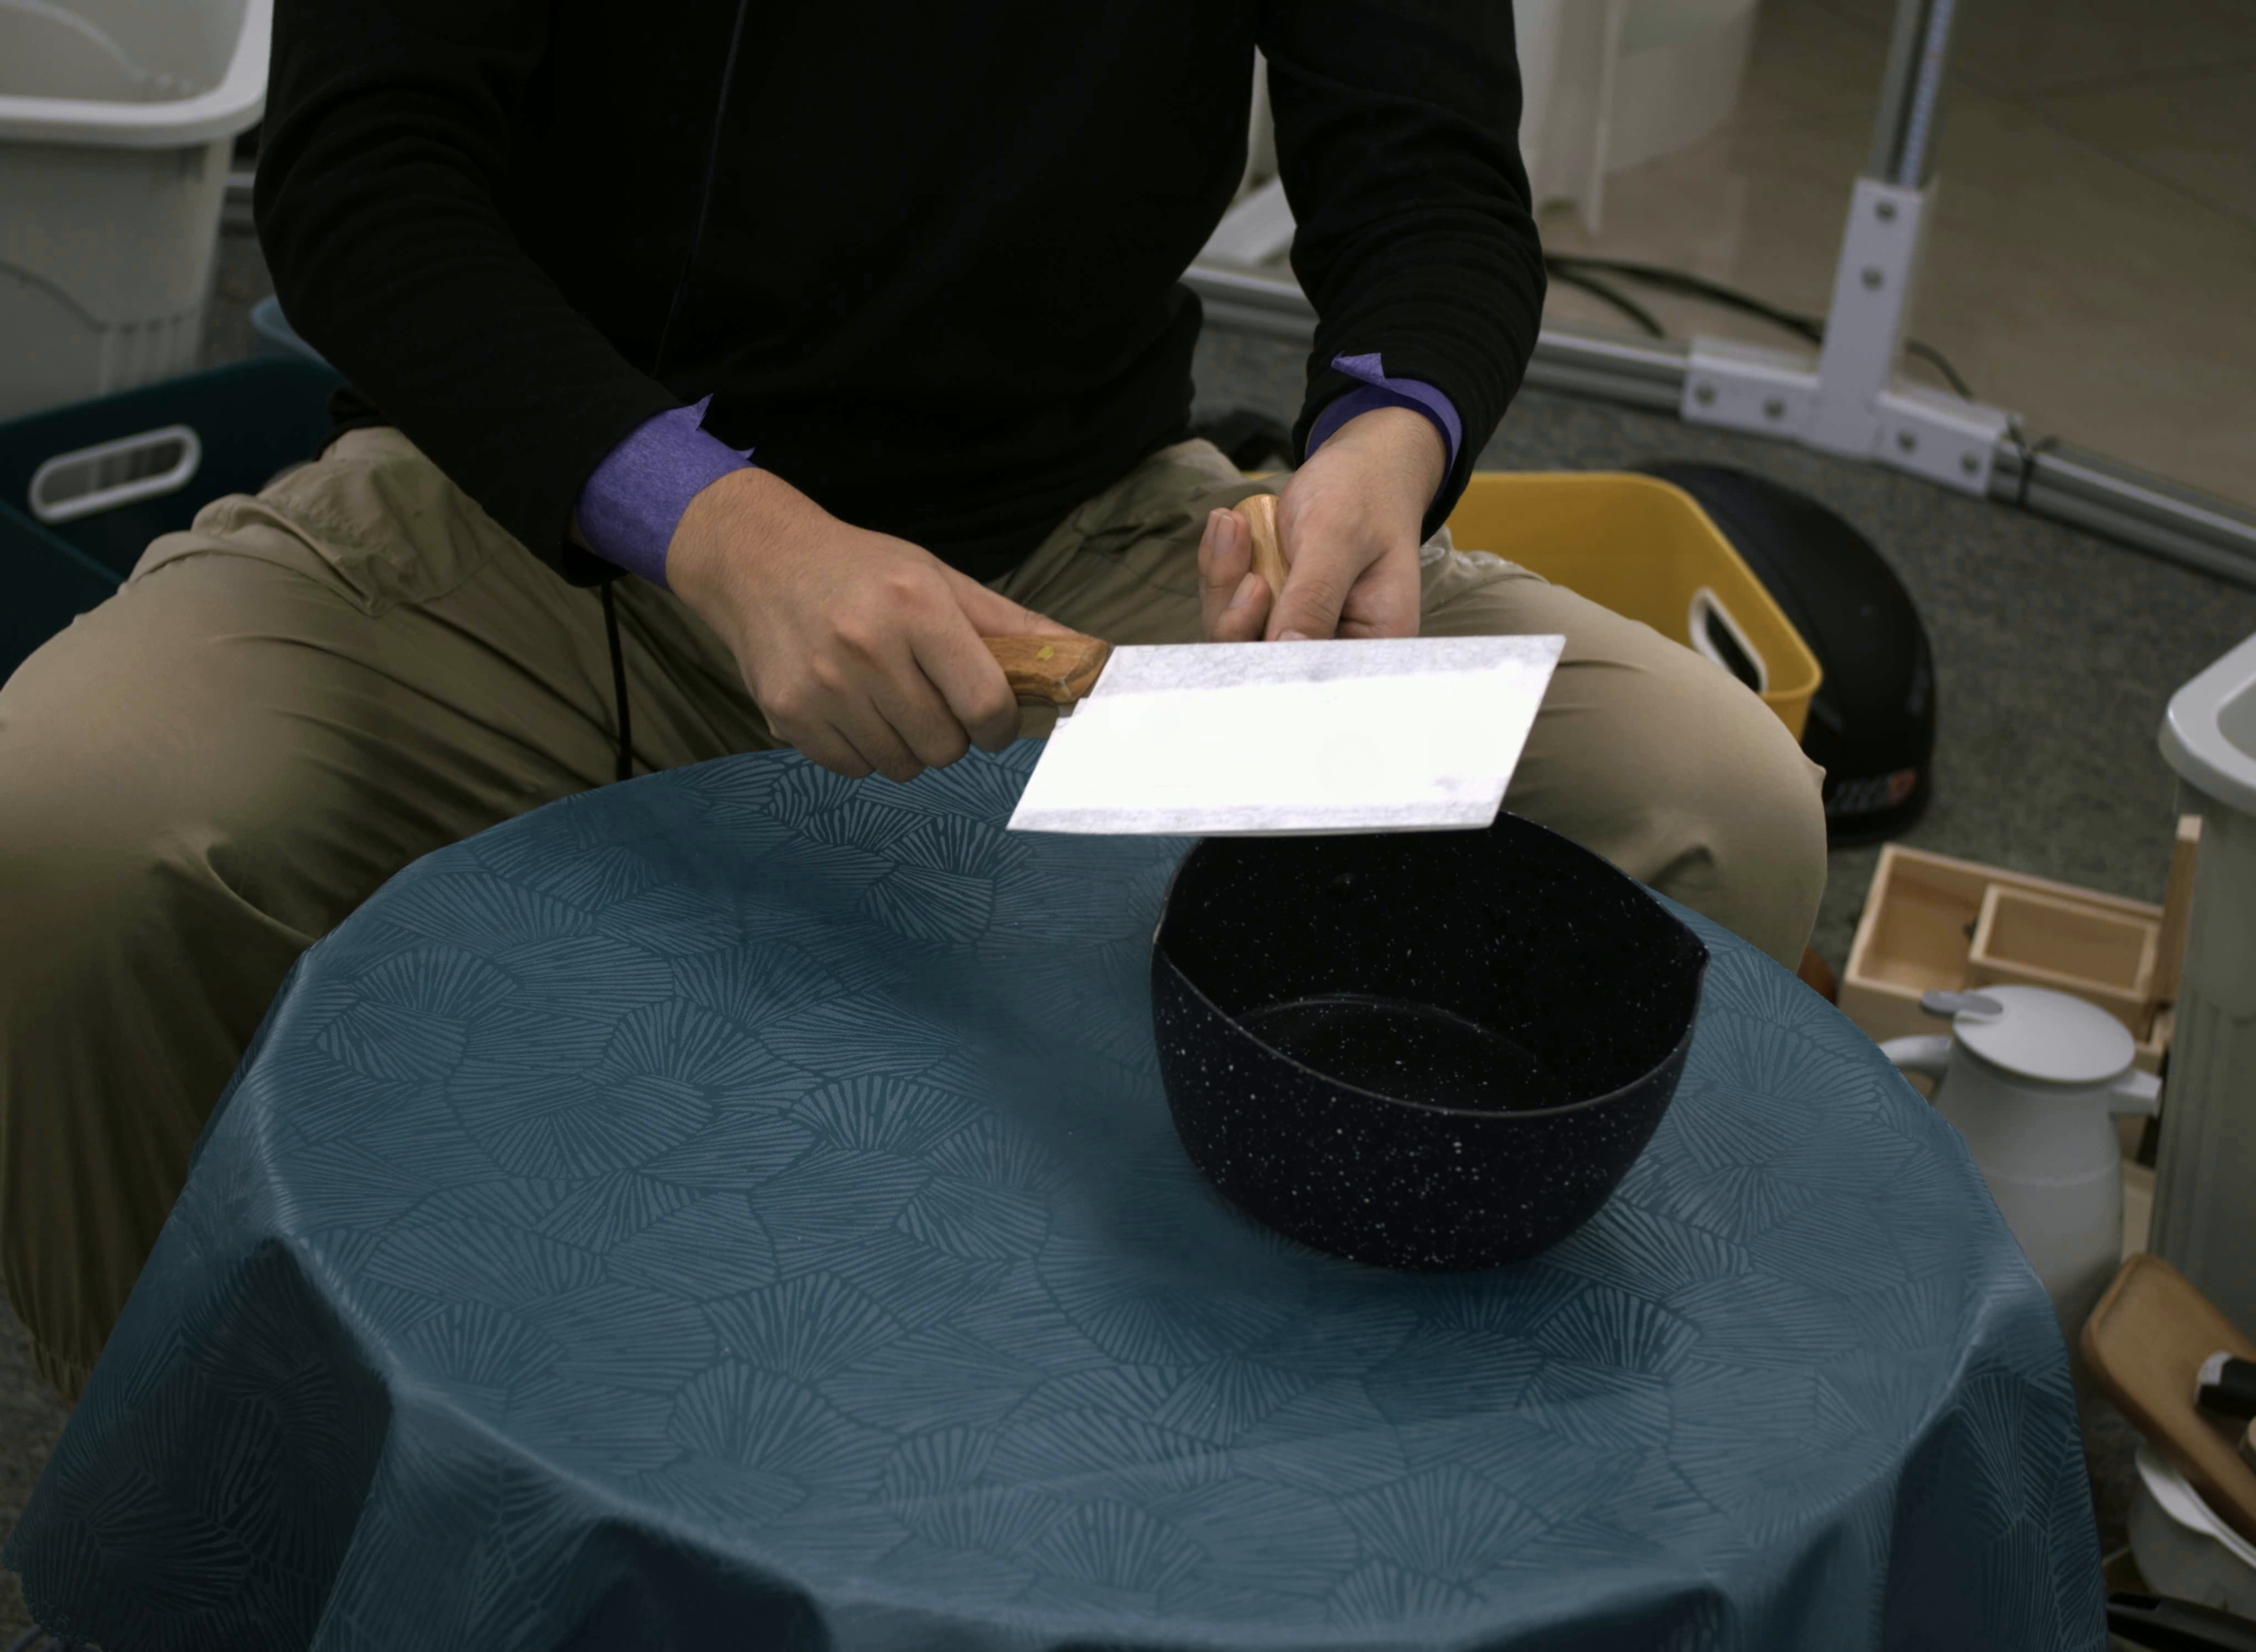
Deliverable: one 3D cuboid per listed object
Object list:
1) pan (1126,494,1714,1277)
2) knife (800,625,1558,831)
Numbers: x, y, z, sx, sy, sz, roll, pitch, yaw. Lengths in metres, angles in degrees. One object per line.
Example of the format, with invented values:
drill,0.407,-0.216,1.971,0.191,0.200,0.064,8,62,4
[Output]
pan,0.077,0.018,1.870,0.206,0.108,0.346,-1,36,-17
knife,0.006,-0.034,1.874,0.307,0.021,0.093,-1,47,31
